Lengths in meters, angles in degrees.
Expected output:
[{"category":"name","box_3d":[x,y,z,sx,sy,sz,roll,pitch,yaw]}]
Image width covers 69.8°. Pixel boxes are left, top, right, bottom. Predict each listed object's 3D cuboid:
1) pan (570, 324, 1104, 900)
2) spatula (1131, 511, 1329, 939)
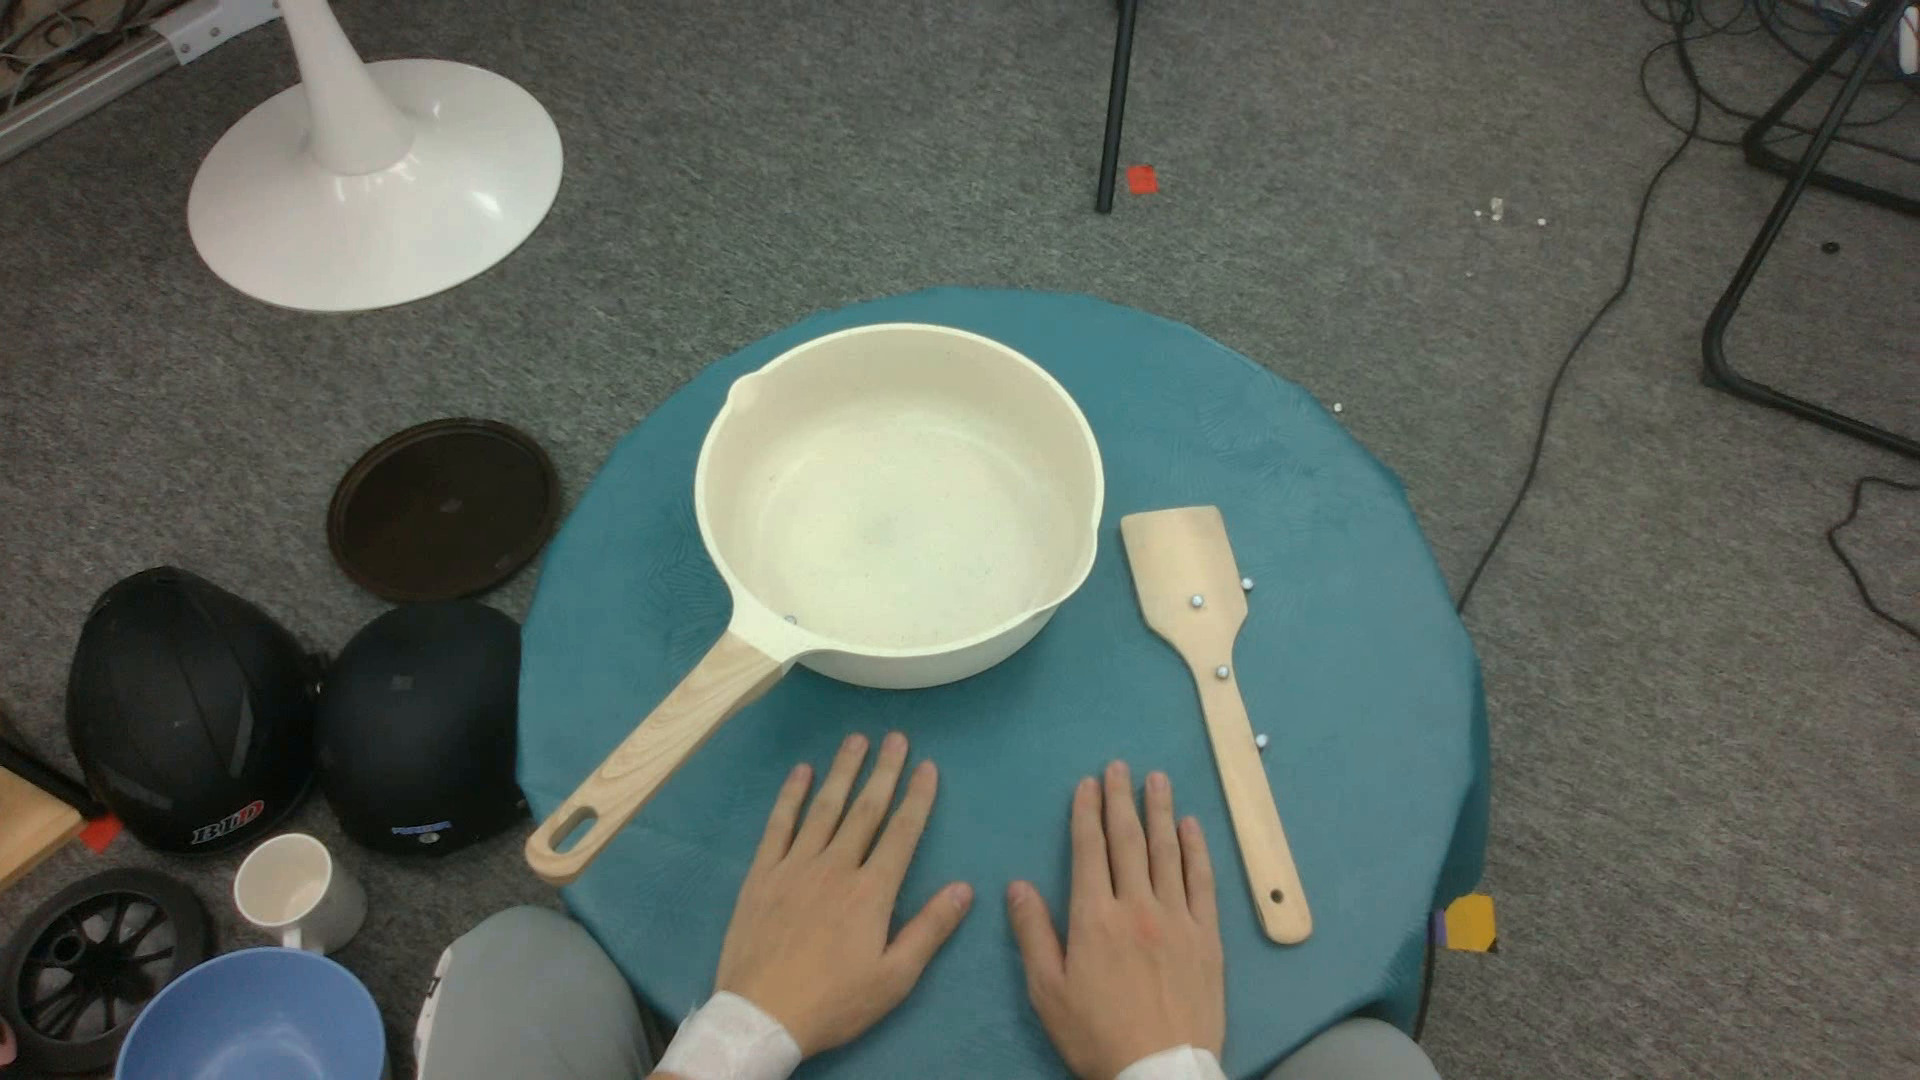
[{"category":"pan","box_3d":[-0.083,0.044,0.843,0.263,0.101,0.437,28,61,15]},{"category":"spatula","box_3d":[0.174,0.105,0.856,0.072,0.010,0.294,-8,56,-6]}]
